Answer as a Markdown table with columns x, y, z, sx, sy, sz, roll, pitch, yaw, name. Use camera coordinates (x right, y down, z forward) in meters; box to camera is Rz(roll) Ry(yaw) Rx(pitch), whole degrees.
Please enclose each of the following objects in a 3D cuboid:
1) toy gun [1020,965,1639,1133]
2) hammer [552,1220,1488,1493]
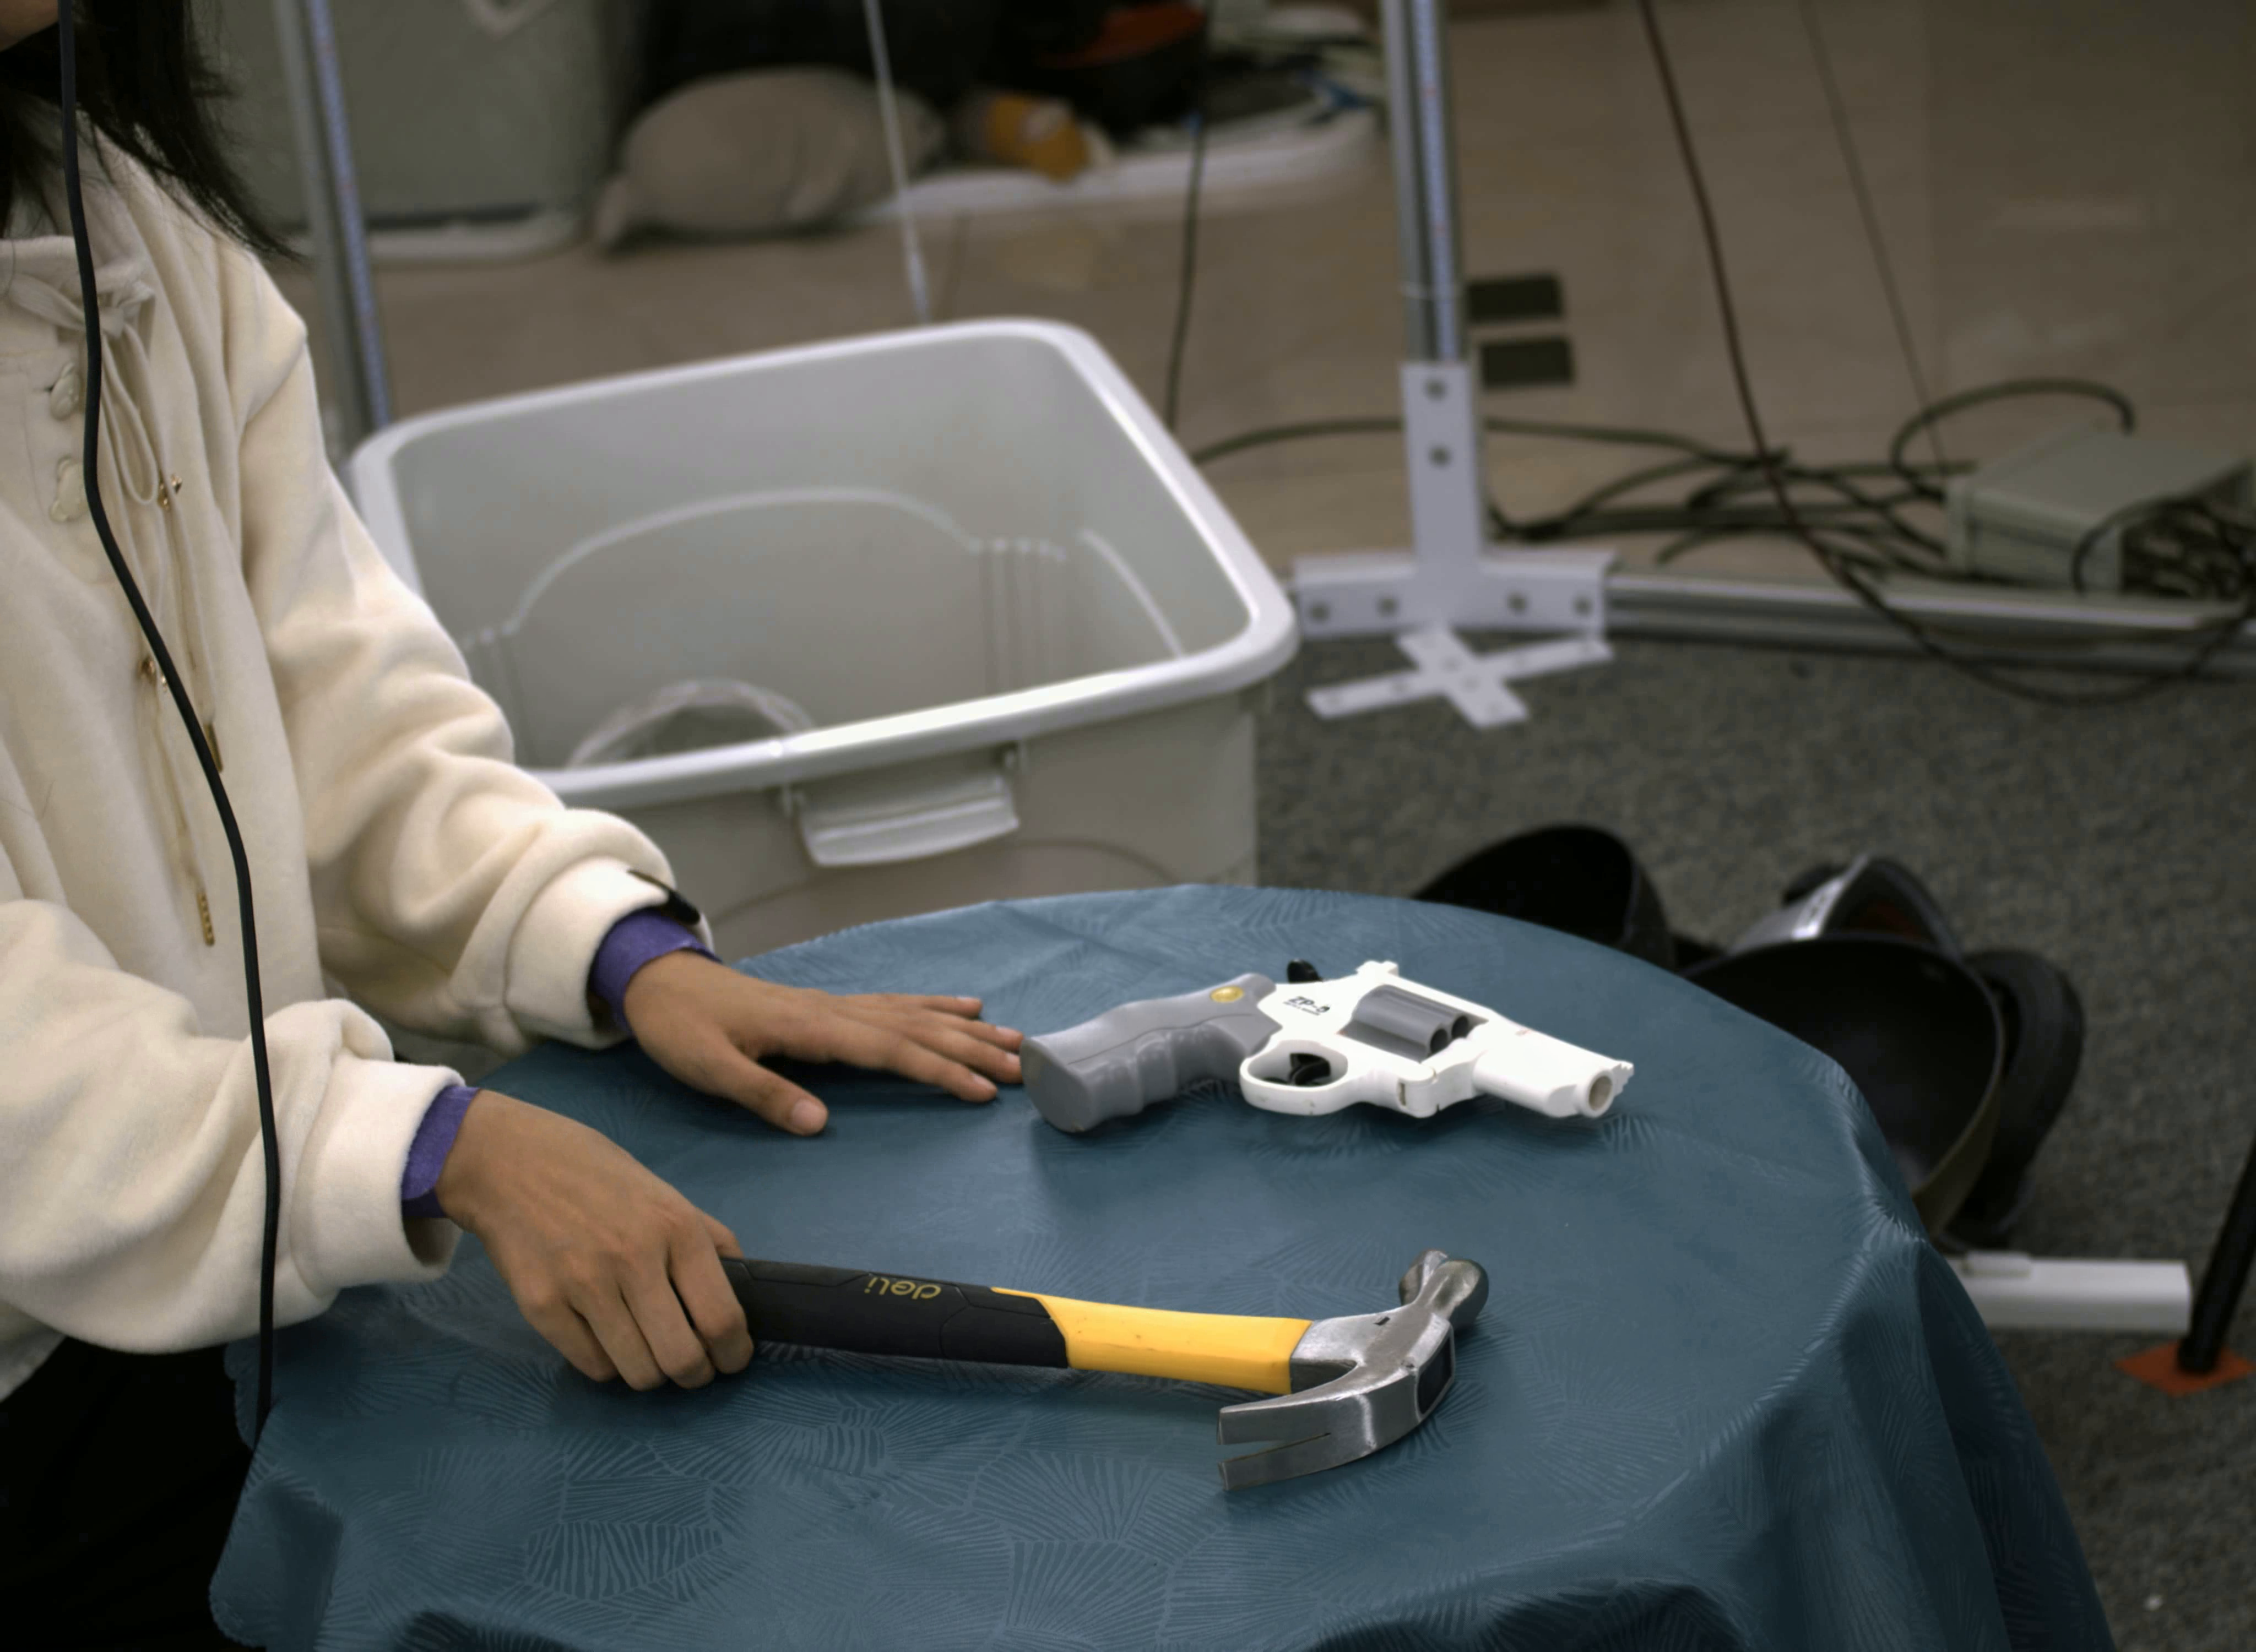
| x | y | z | sx | sy | sz | roll | pitch | yaw | name |
| --- | --- | --- | --- | --- | --- | --- | --- | --- | --- |
| 0.074 | 0.094 | 2.181 | 0.207 | 0.039 | 0.140 | 17 | 33 | 40 | toy gun |
| -0.050 | 0.175 | 2.032 | 0.337 | 0.033 | 0.129 | 6 | 29 | 20 | hammer |
